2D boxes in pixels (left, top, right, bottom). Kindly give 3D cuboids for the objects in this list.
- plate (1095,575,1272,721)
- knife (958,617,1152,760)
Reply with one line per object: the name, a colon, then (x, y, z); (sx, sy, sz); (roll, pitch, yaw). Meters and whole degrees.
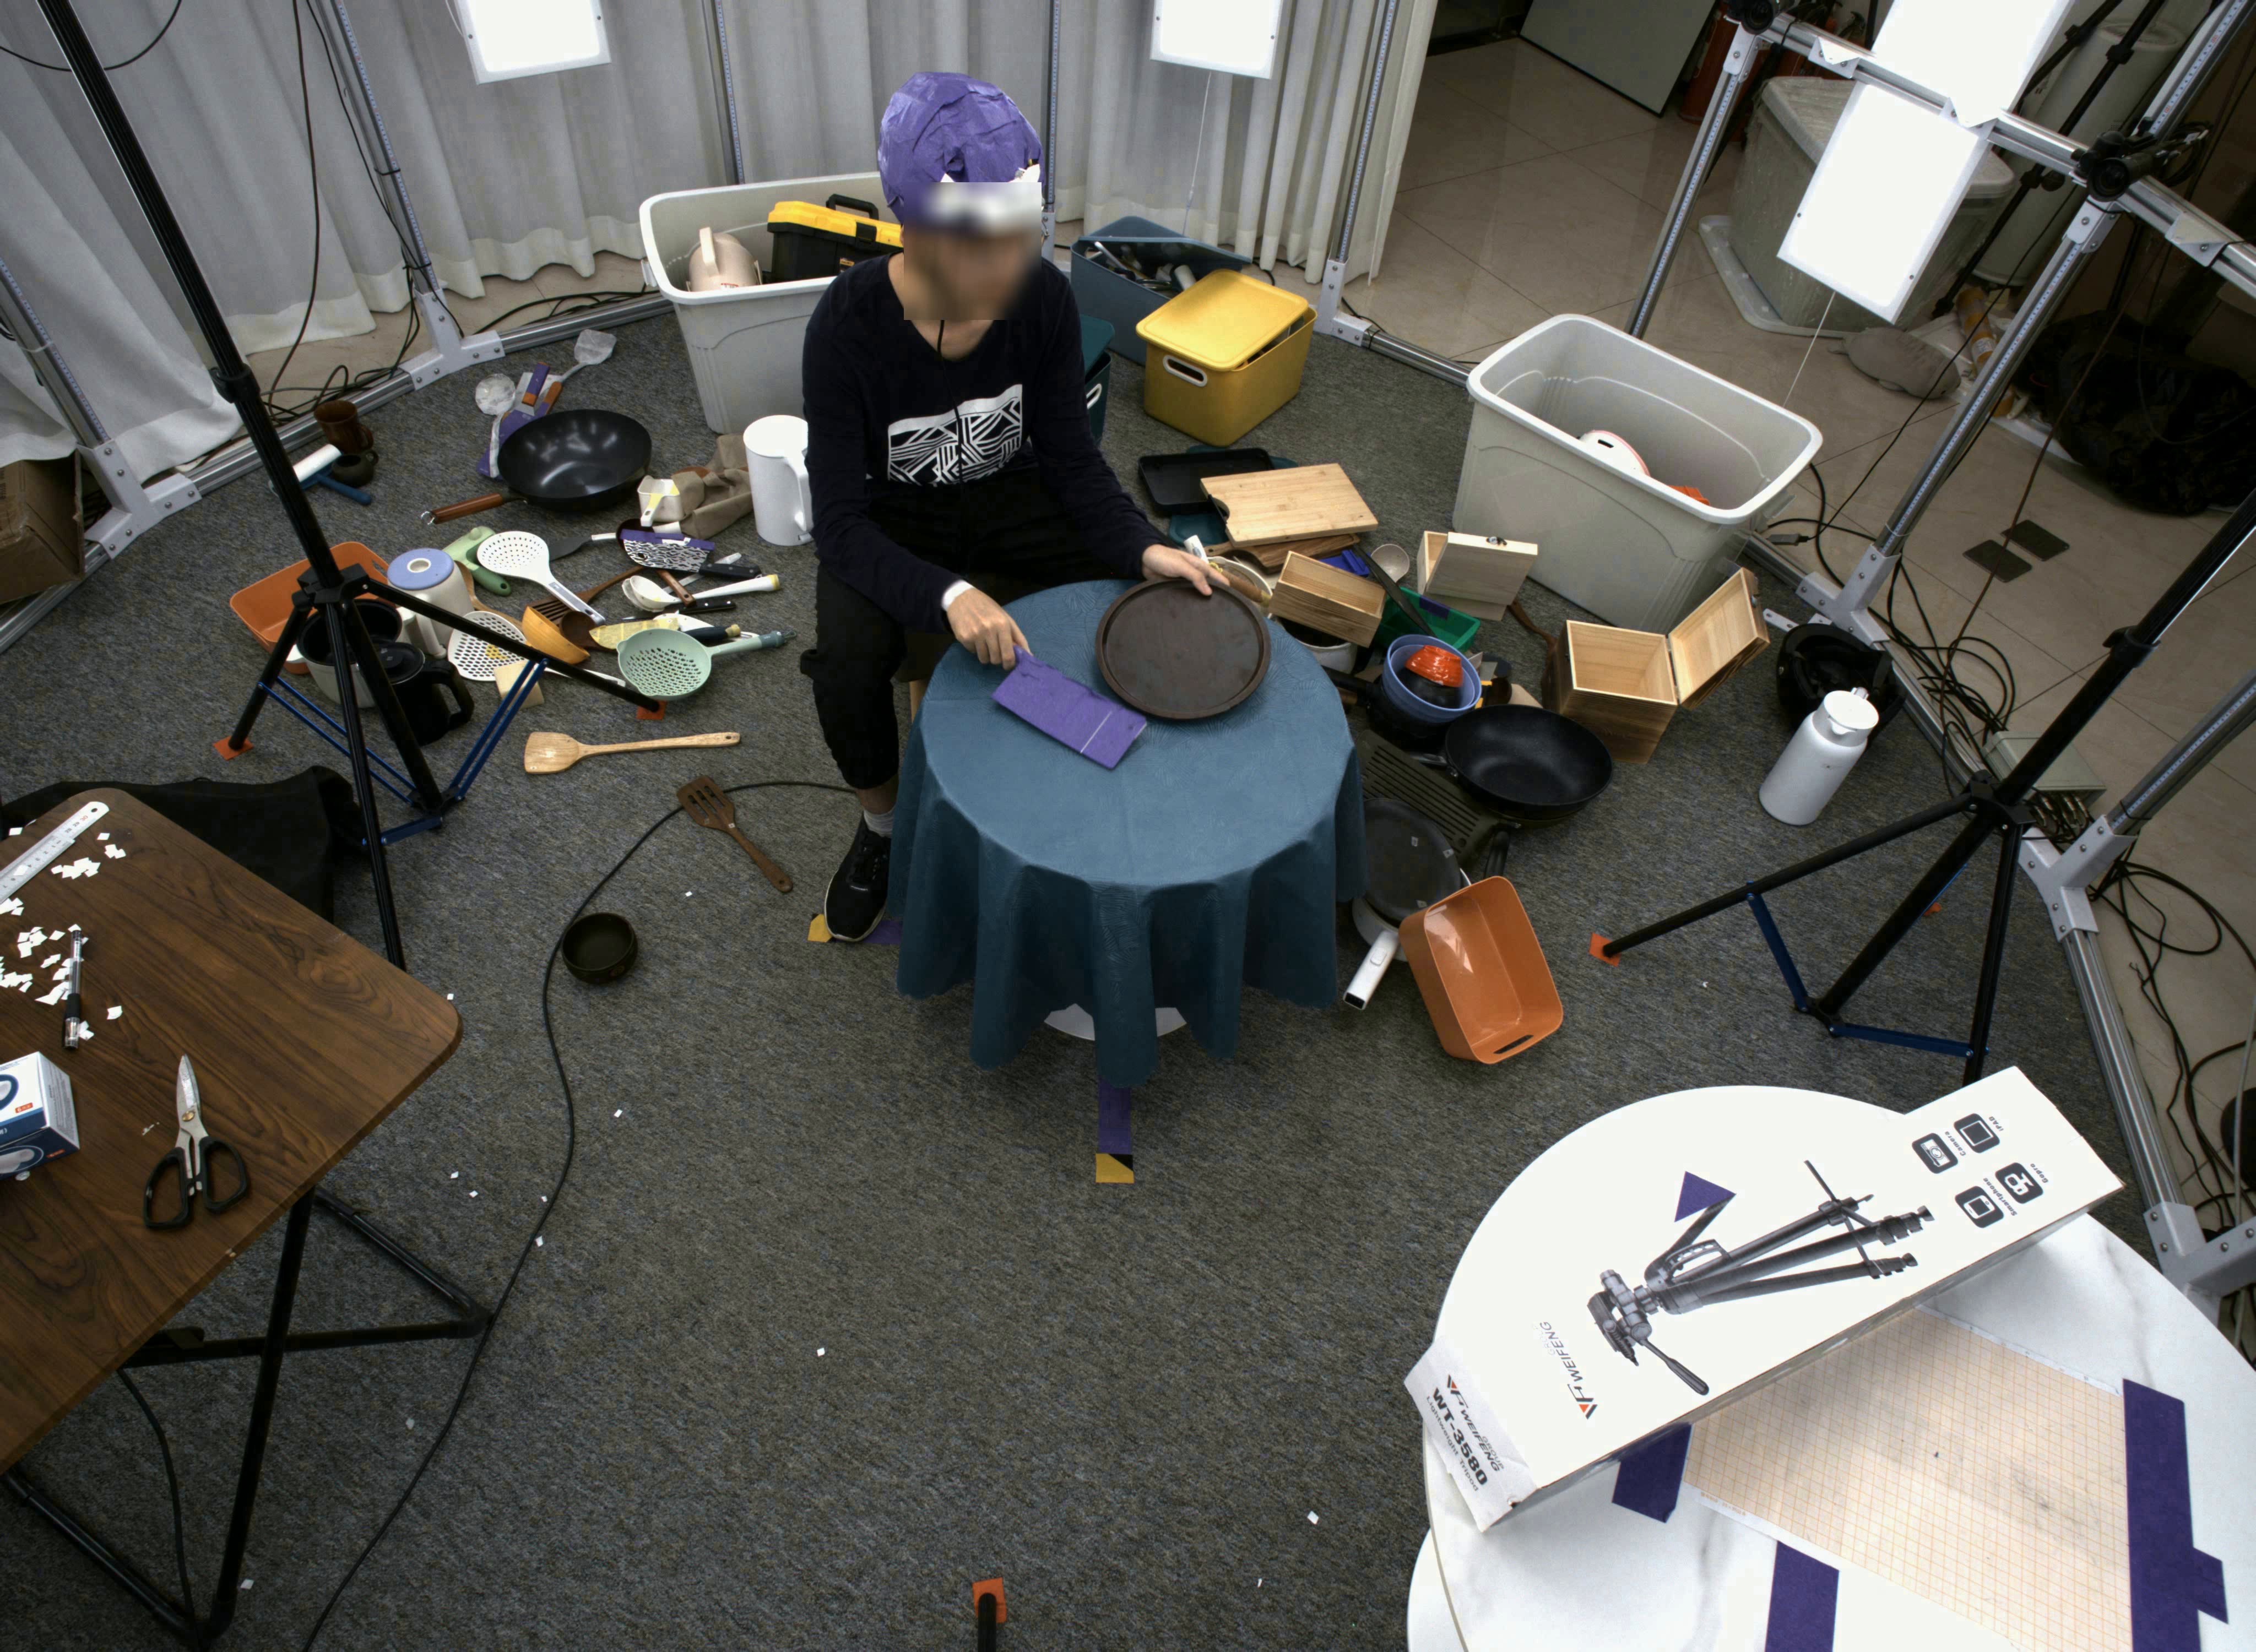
plate: (0.080, -0.257, 1.850); (0.254, 0.028, 0.260); (0, 61, 1)
knife: (-0.123, -0.193, 1.791); (0.318, 0.031, 0.105); (29, 66, 19)
